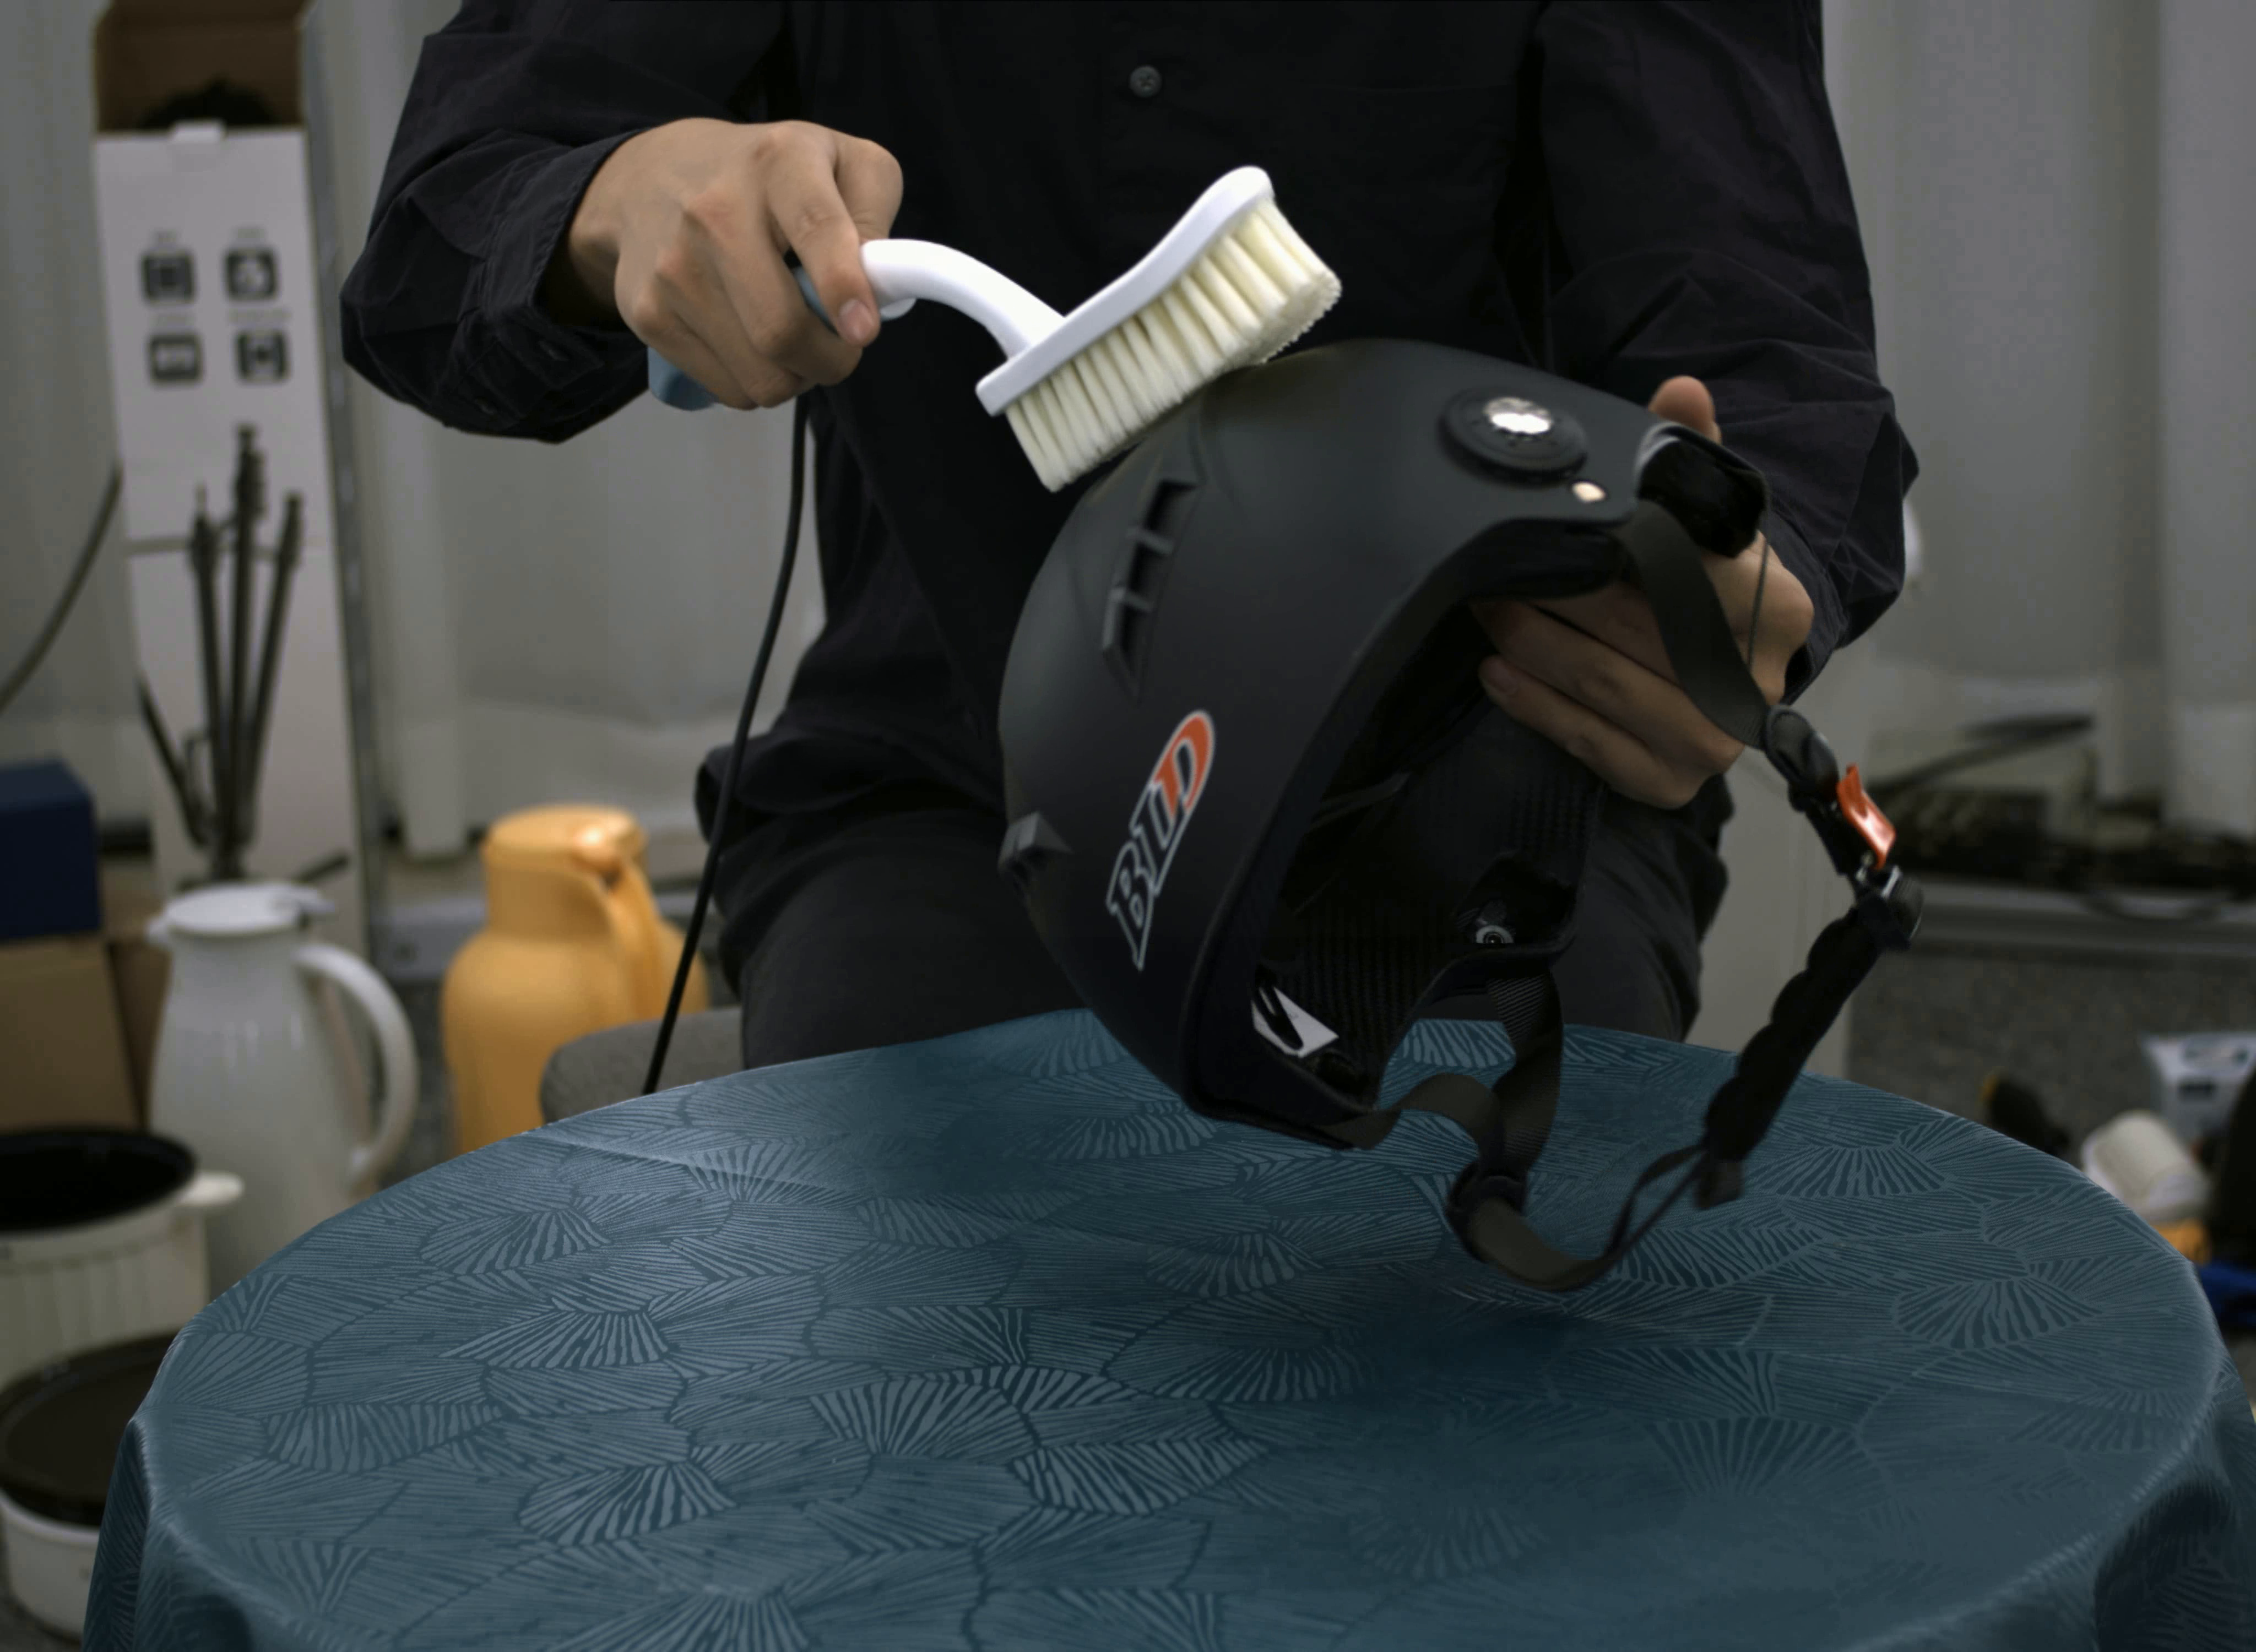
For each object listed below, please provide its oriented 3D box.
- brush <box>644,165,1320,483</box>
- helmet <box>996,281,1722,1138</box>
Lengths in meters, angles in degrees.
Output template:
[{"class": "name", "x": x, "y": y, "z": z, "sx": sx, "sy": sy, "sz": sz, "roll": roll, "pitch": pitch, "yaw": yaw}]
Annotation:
[{"class": "brush", "x": -0.043, "y": -0.135, "z": 1.659, "sx": 0.082, "sy": 0.085, "sz": 0.326, "roll": 13, "pitch": -12, "yaw": -33}, {"class": "helmet", "x": 0.055, "y": -0.047, "z": 1.569, "sx": 0.173, "sy": 0.245, "sz": 0.277, "roll": 31, "pitch": 28, "yaw": 19}]
